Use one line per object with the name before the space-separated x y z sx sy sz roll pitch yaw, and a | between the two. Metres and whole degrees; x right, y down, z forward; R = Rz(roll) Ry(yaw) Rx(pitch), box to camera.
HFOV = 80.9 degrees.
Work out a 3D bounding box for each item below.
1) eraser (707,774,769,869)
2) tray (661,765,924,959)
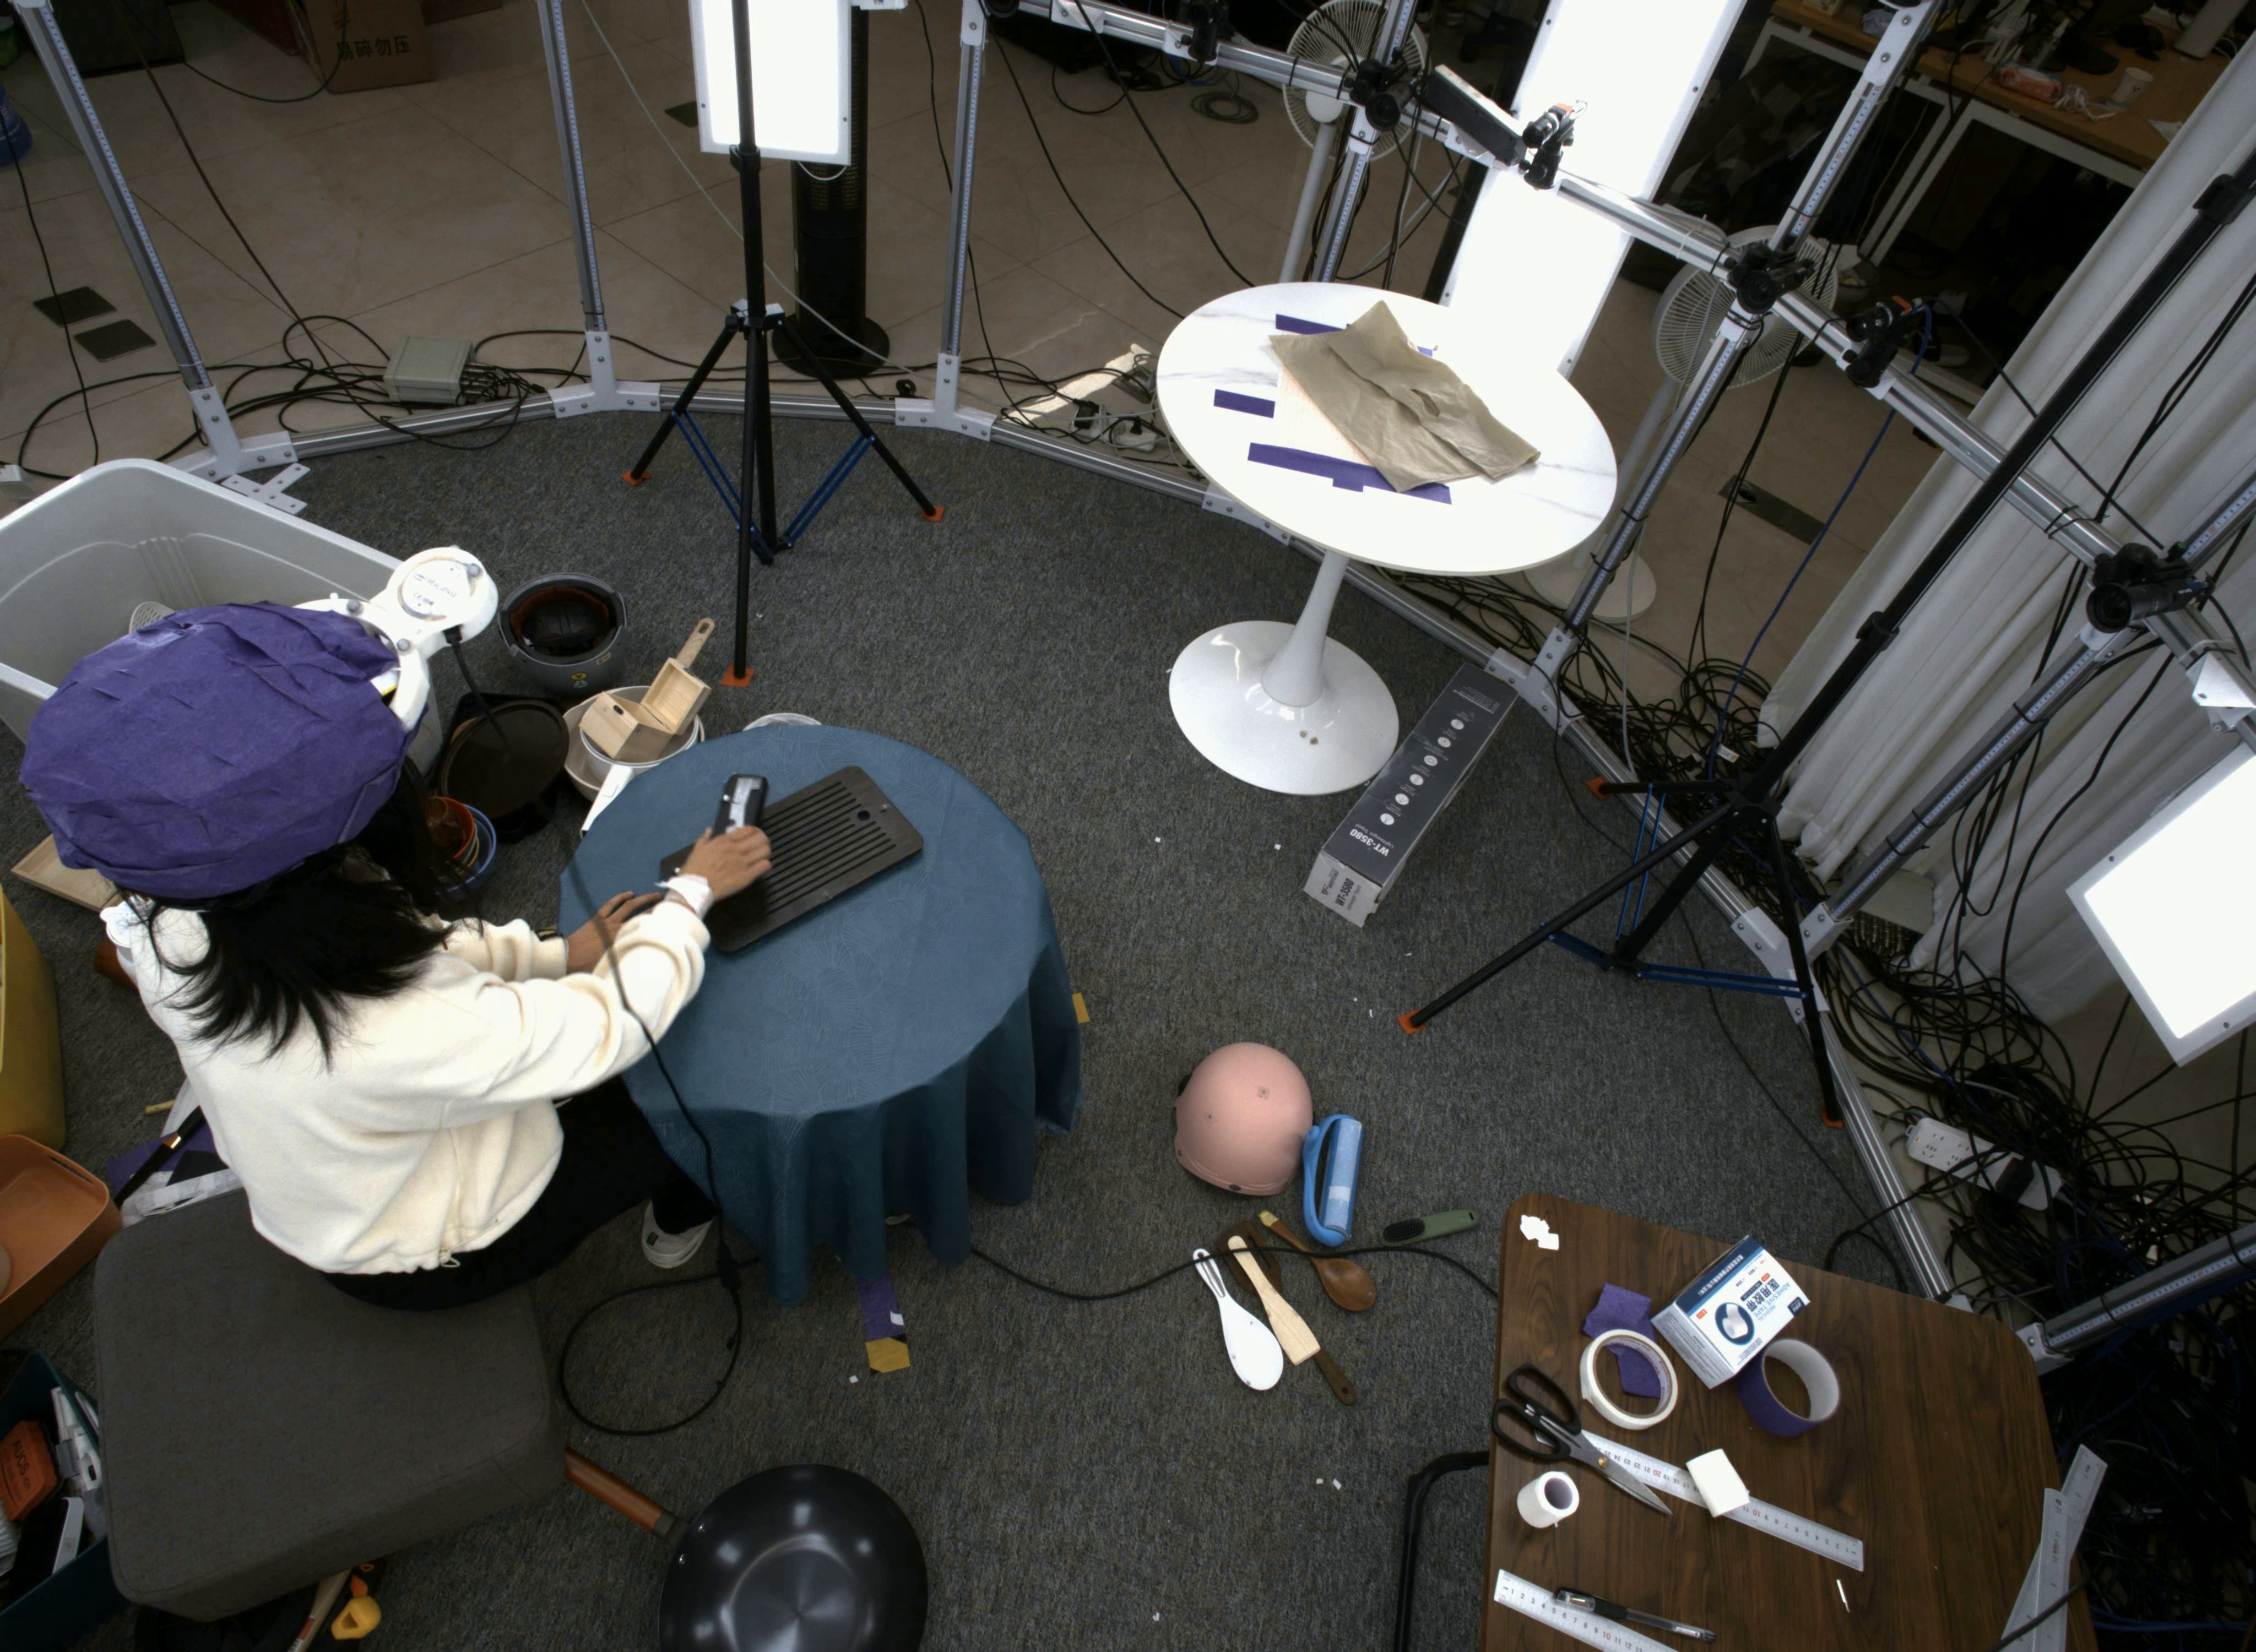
eraser | -0.488 -0.008 1.621 0.053 0.031 0.124 5 59 -4
tray | -0.430 0.040 1.676 0.307 0.019 0.166 -32 67 -32
